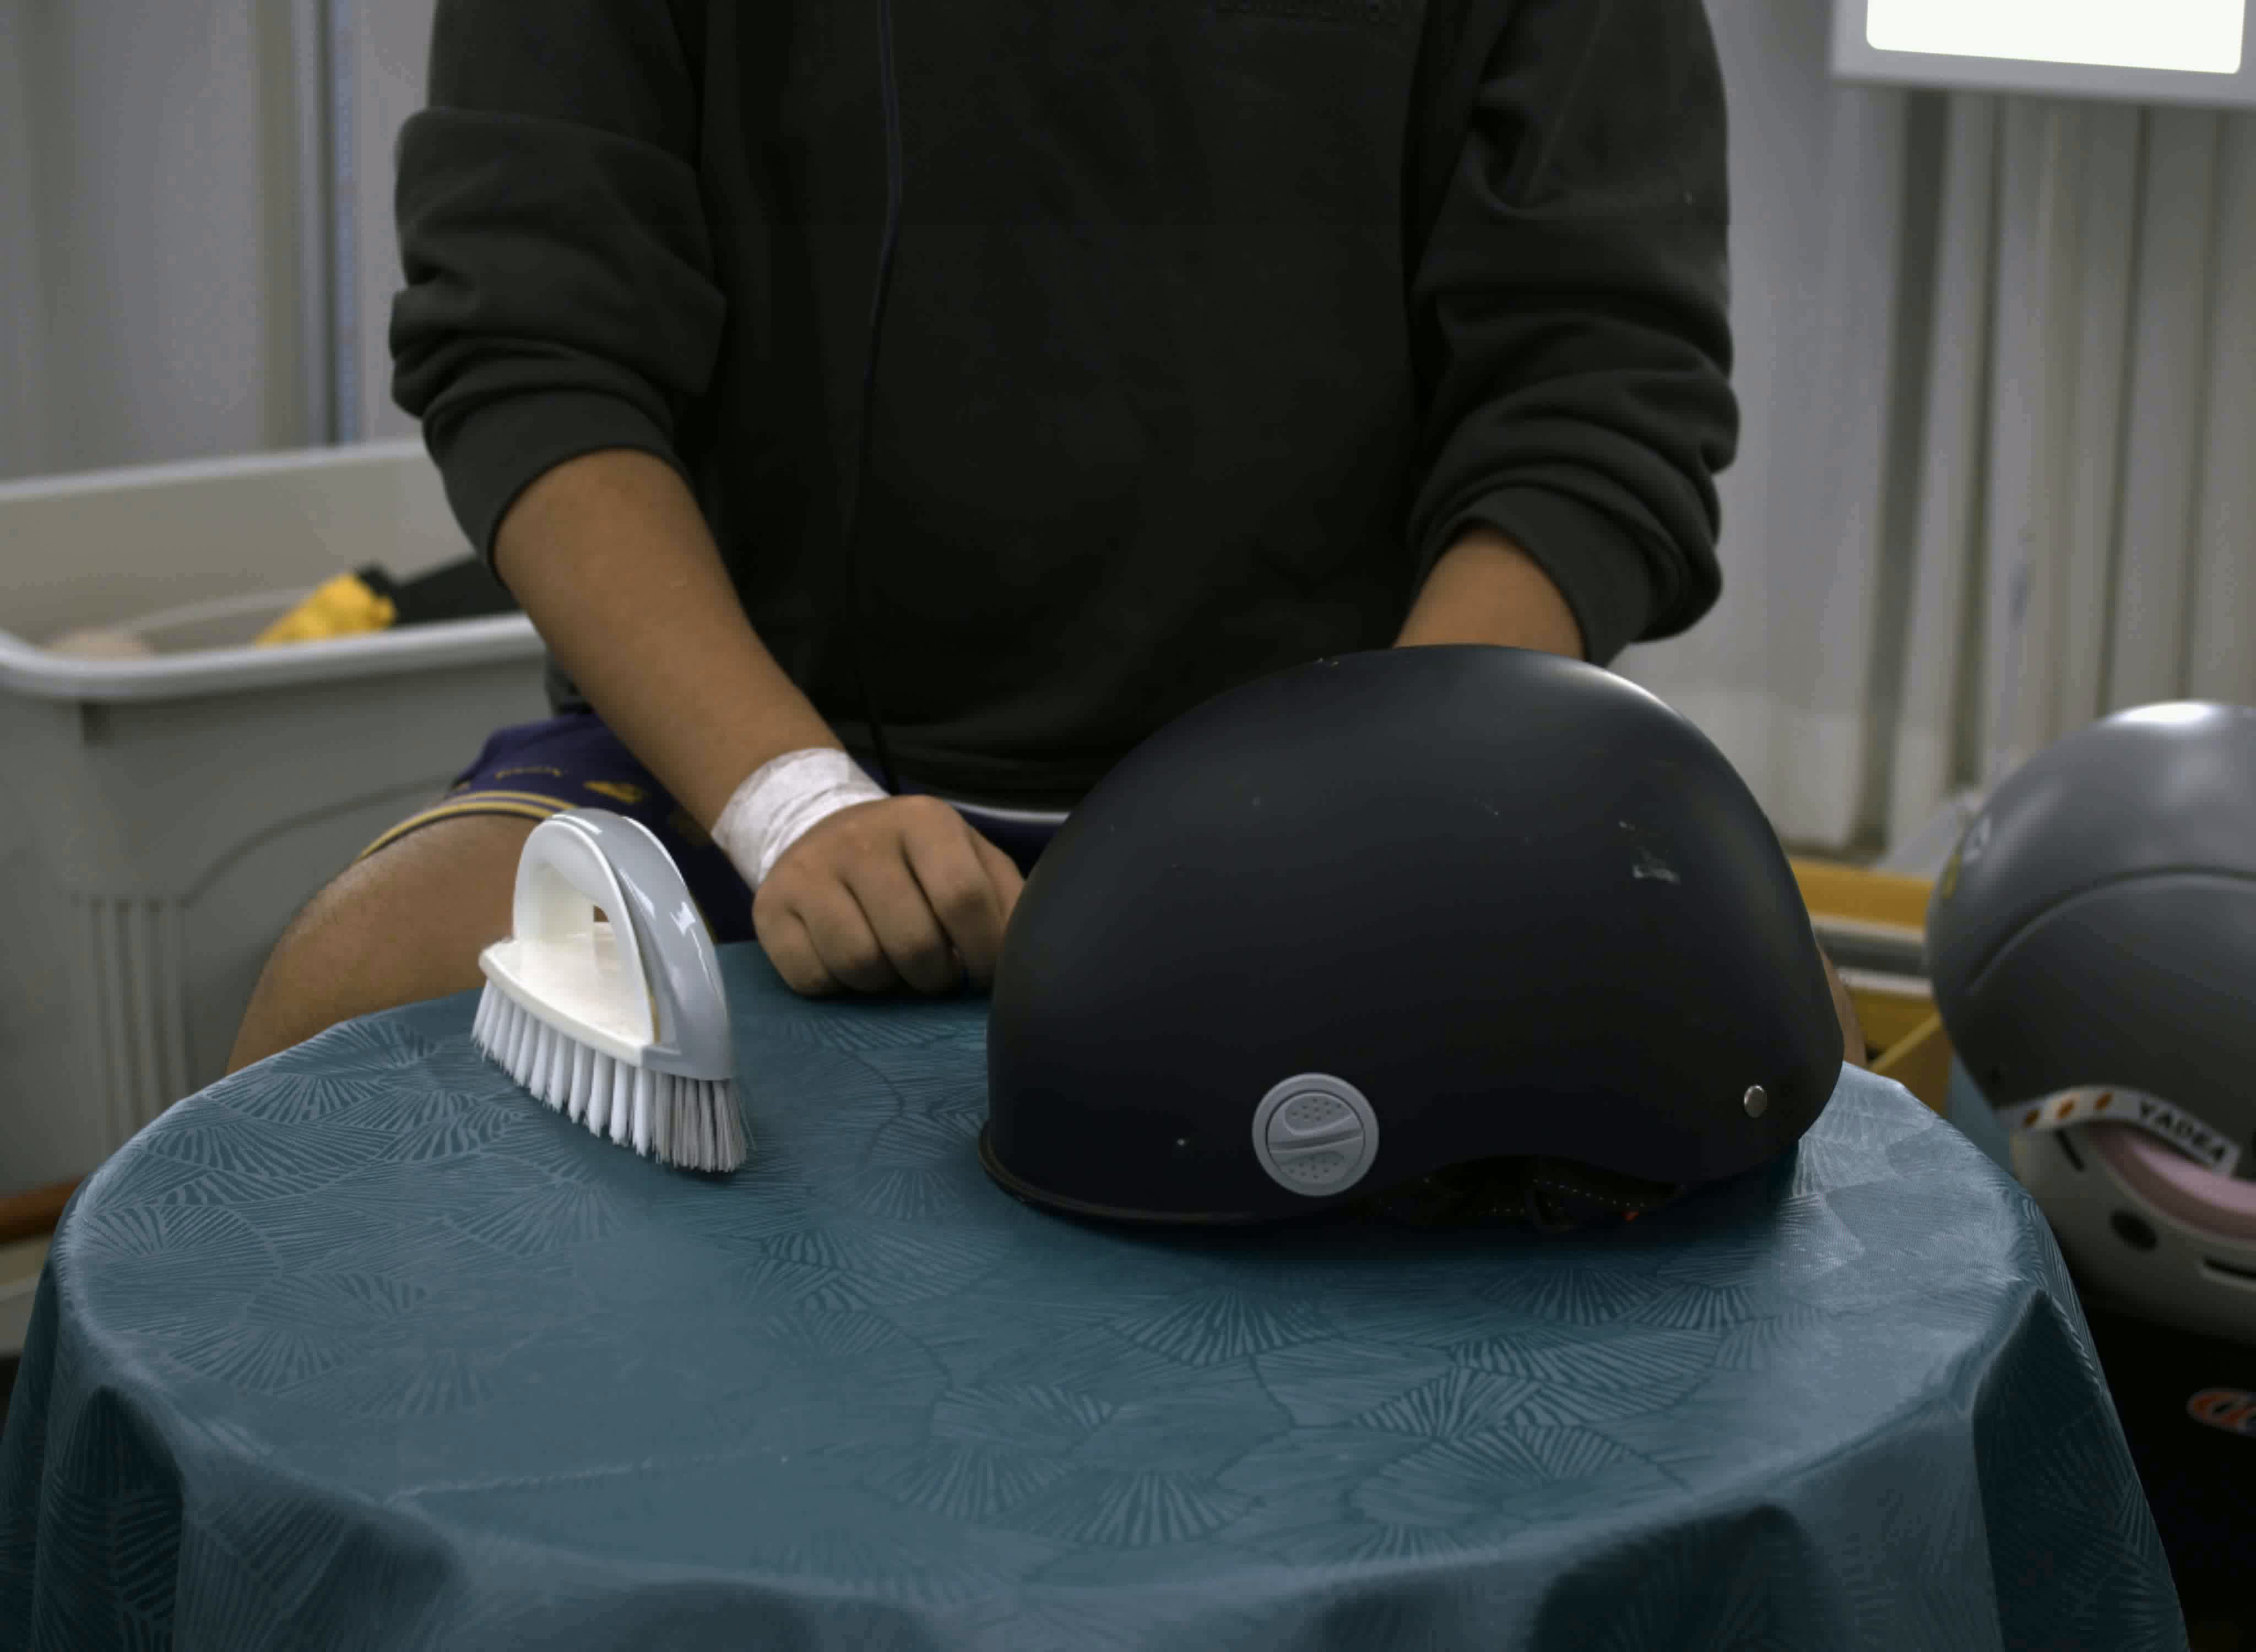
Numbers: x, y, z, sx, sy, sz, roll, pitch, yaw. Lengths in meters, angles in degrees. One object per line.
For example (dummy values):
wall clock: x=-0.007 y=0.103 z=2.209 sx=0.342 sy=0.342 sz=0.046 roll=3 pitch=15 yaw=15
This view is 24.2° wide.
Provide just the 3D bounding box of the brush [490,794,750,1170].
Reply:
brush: x=-0.157 y=0.045 z=1.689 sx=0.061 sy=0.095 sz=0.173 roll=-8 pitch=20 yaw=-23

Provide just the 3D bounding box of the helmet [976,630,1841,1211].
helmet: x=0.086 y=0.024 z=1.644 sx=0.272 sy=0.168 sz=0.228 roll=-2 pitch=15 yaw=-2
